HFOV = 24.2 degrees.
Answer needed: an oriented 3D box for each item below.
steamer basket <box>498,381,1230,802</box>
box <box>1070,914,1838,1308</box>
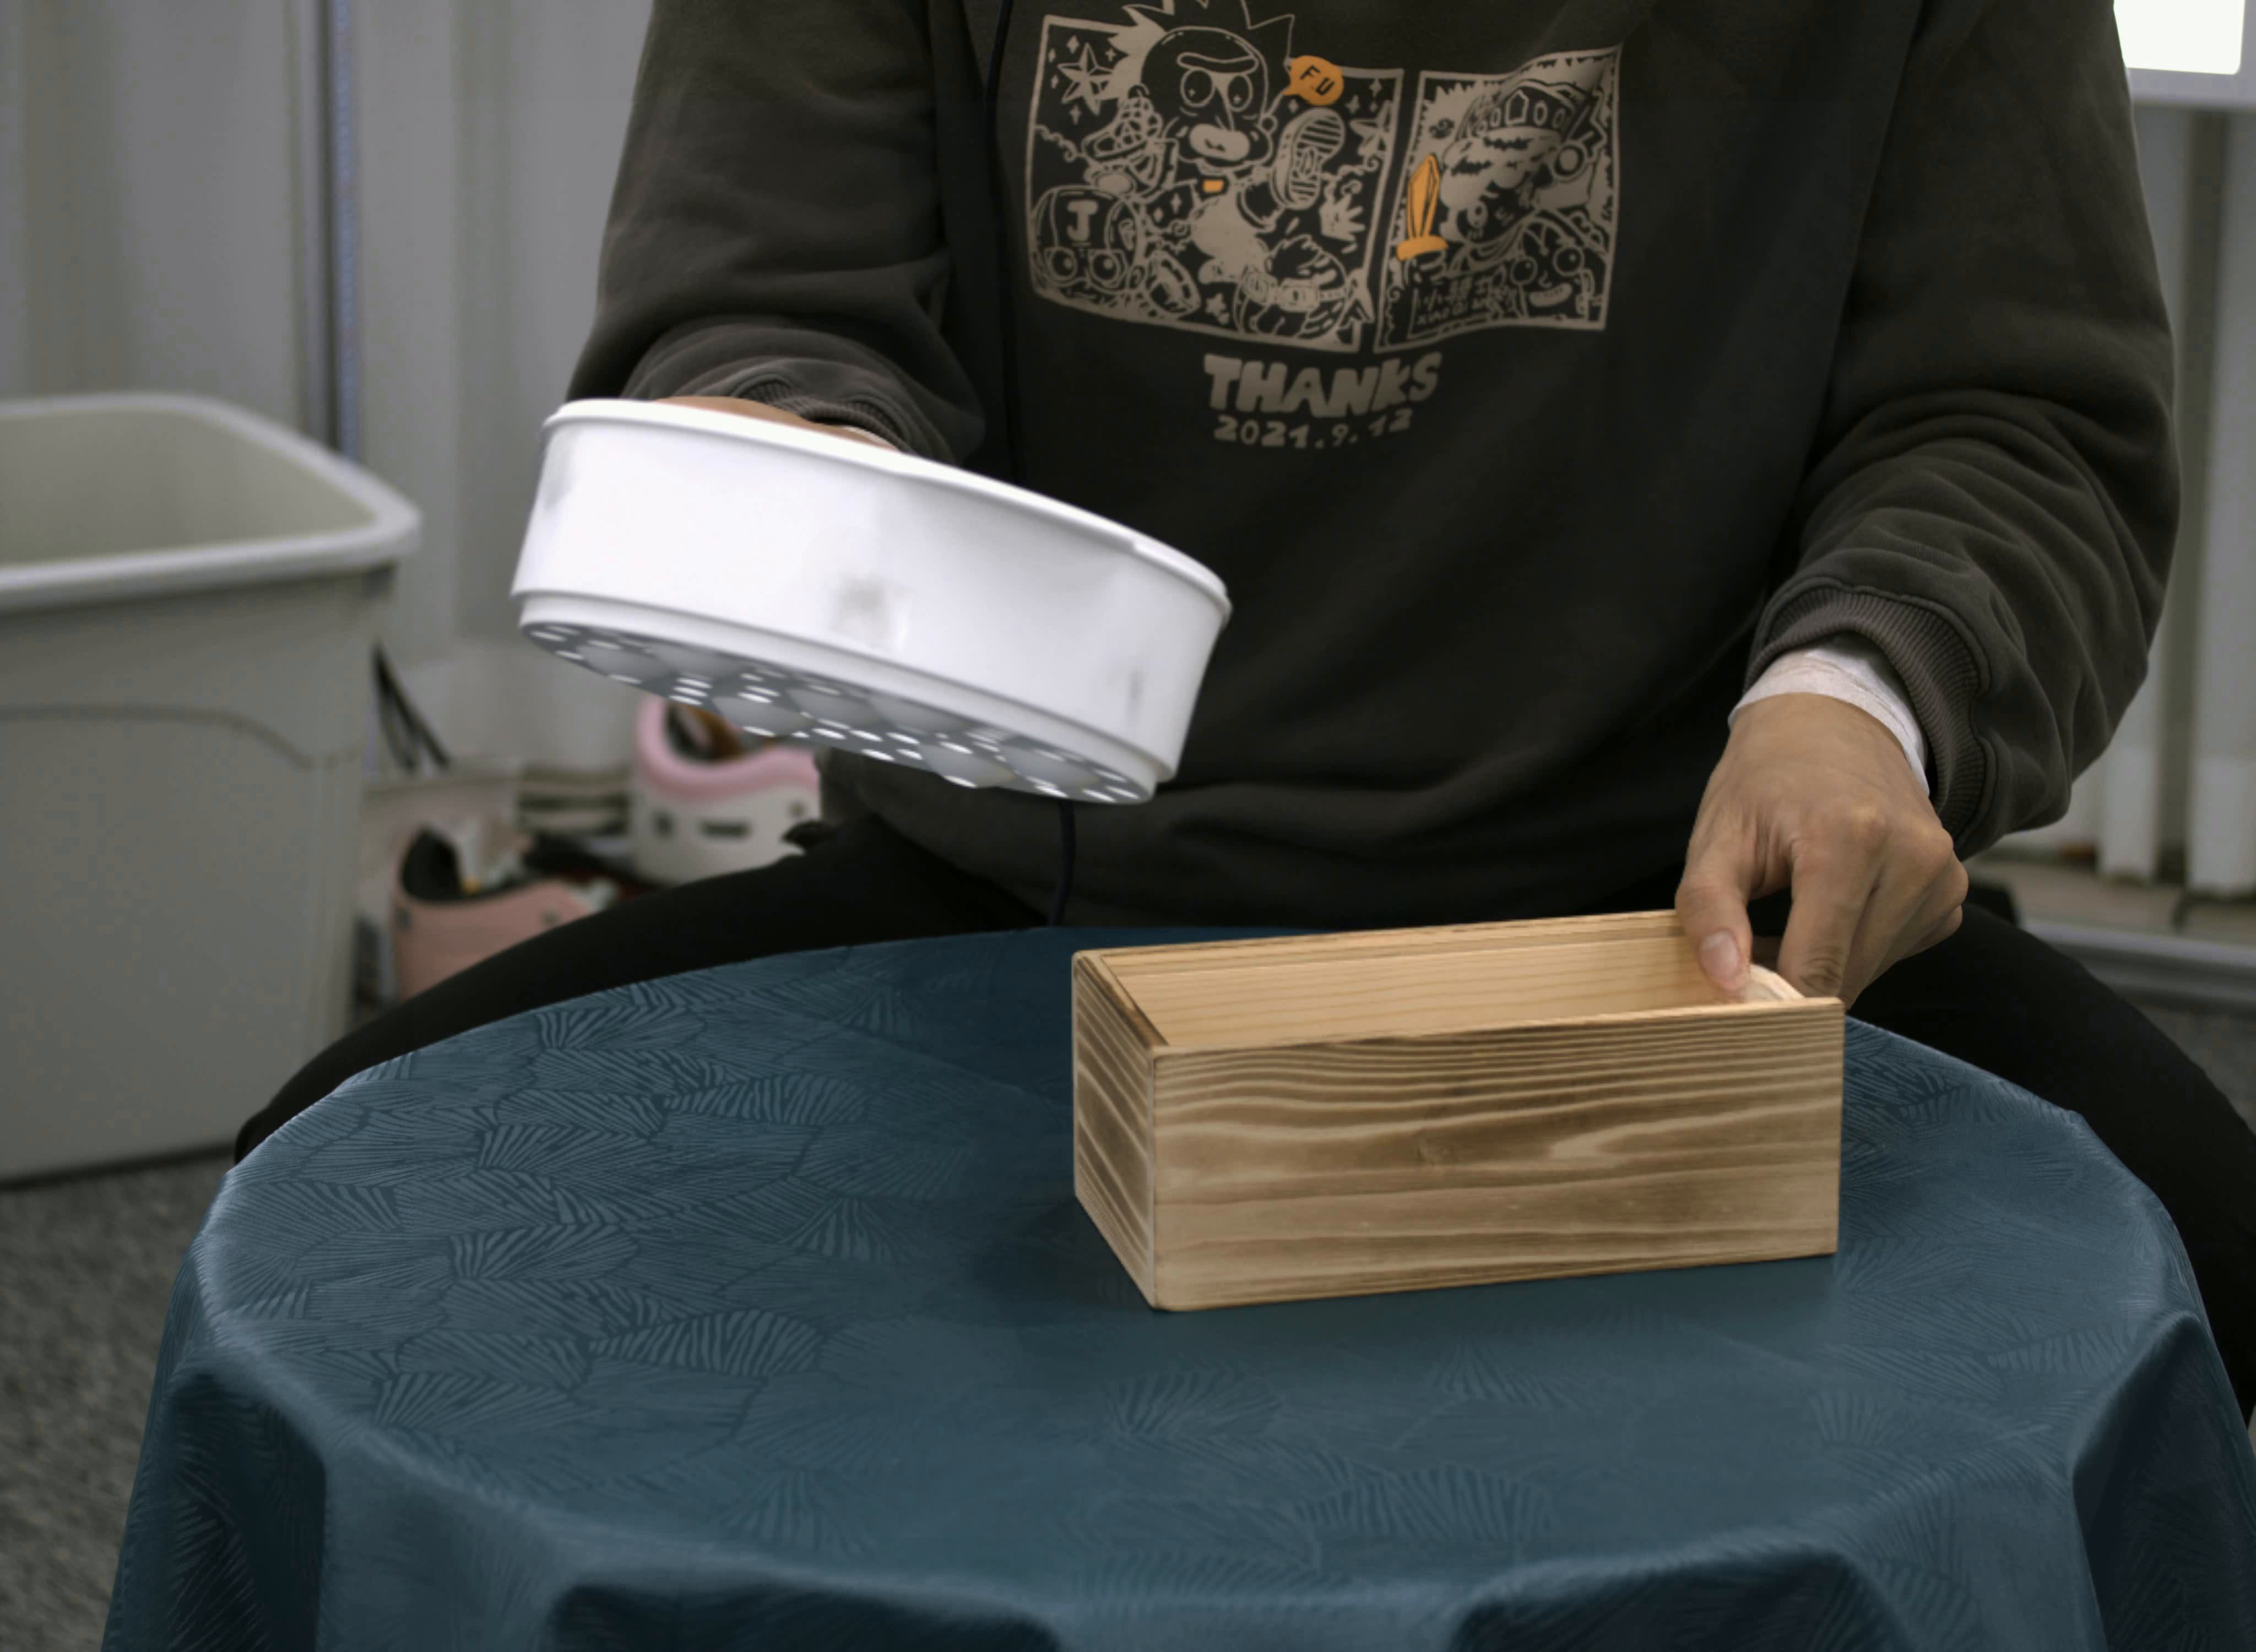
[{"bbox_3d":[-0.075,-0.061,1.475,0.203,0.069,0.229,17,-7,-23],"label":"steamer basket"},{"bbox_3d":[0.096,0.084,1.588,0.211,0.081,0.106,-4,15,-14],"label":"box"}]
